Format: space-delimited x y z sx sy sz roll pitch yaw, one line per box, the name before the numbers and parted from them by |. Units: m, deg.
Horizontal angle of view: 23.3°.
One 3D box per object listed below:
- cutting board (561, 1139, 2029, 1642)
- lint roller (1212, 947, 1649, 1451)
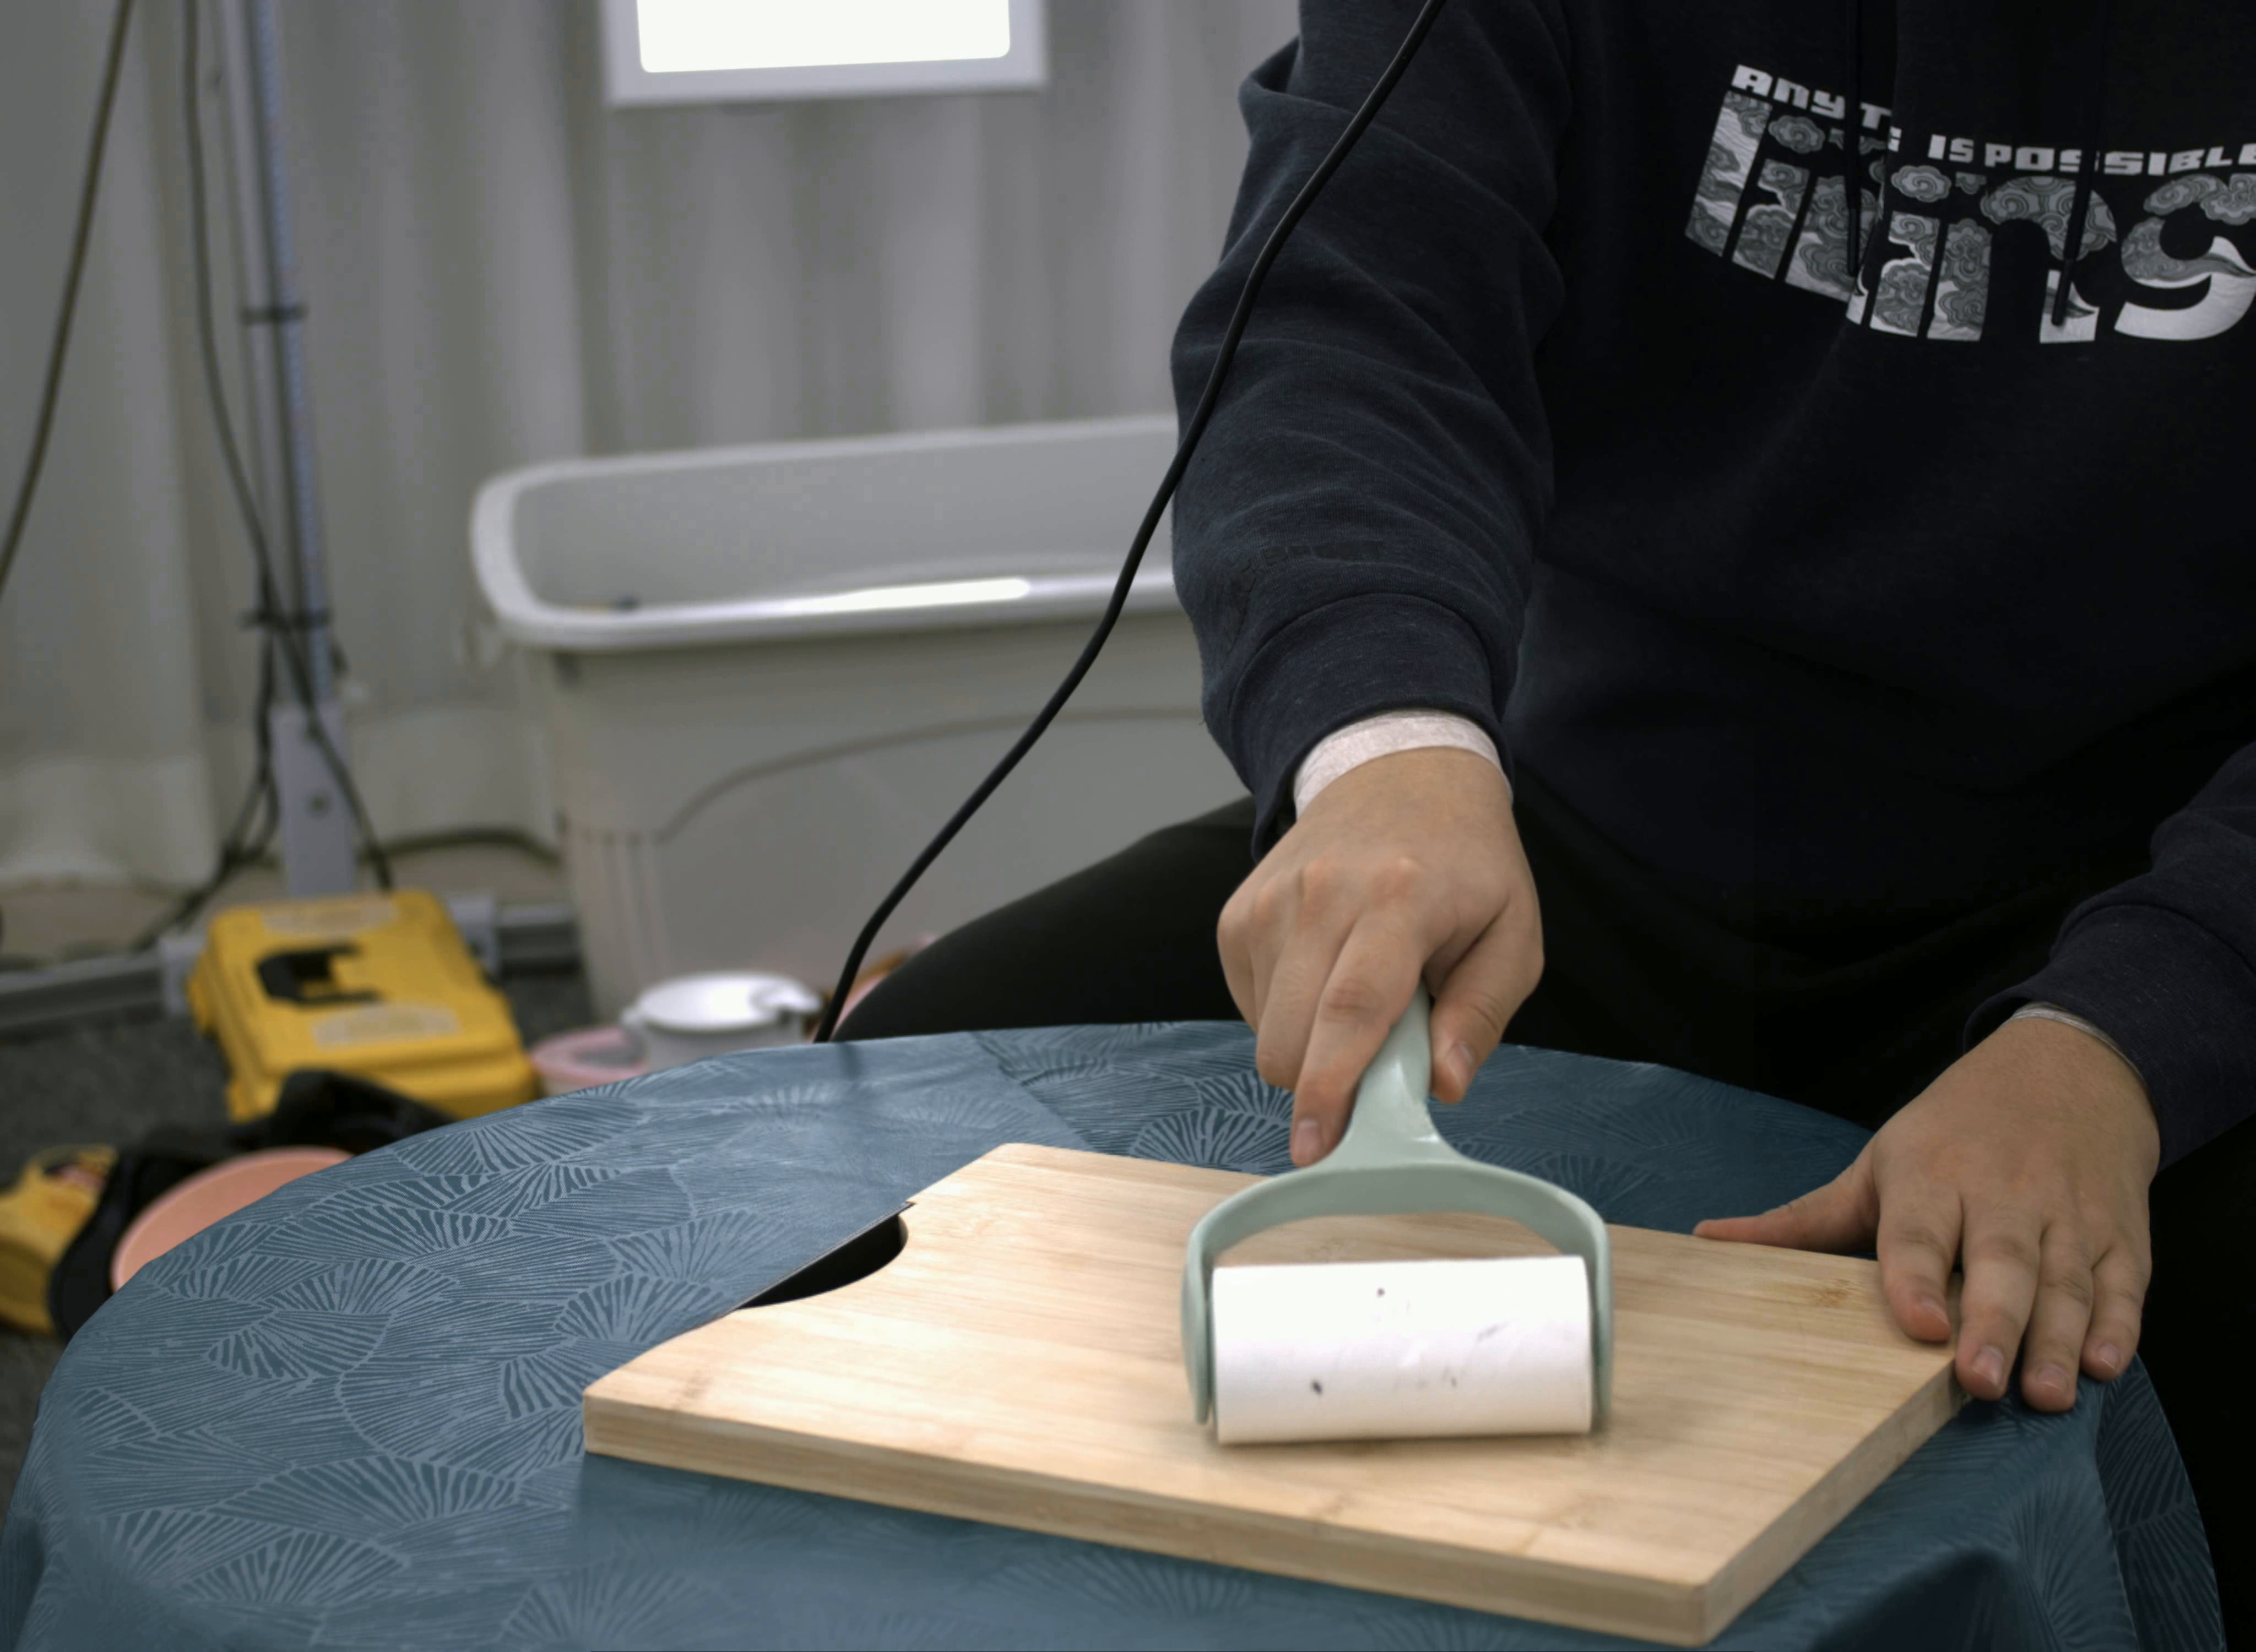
cutting board | 0.049 0.152 1.539 0.349 0.023 0.251 6 16 28
lint roller | 0.080 0.091 1.509 0.116 0.048 0.200 -4 40 3
